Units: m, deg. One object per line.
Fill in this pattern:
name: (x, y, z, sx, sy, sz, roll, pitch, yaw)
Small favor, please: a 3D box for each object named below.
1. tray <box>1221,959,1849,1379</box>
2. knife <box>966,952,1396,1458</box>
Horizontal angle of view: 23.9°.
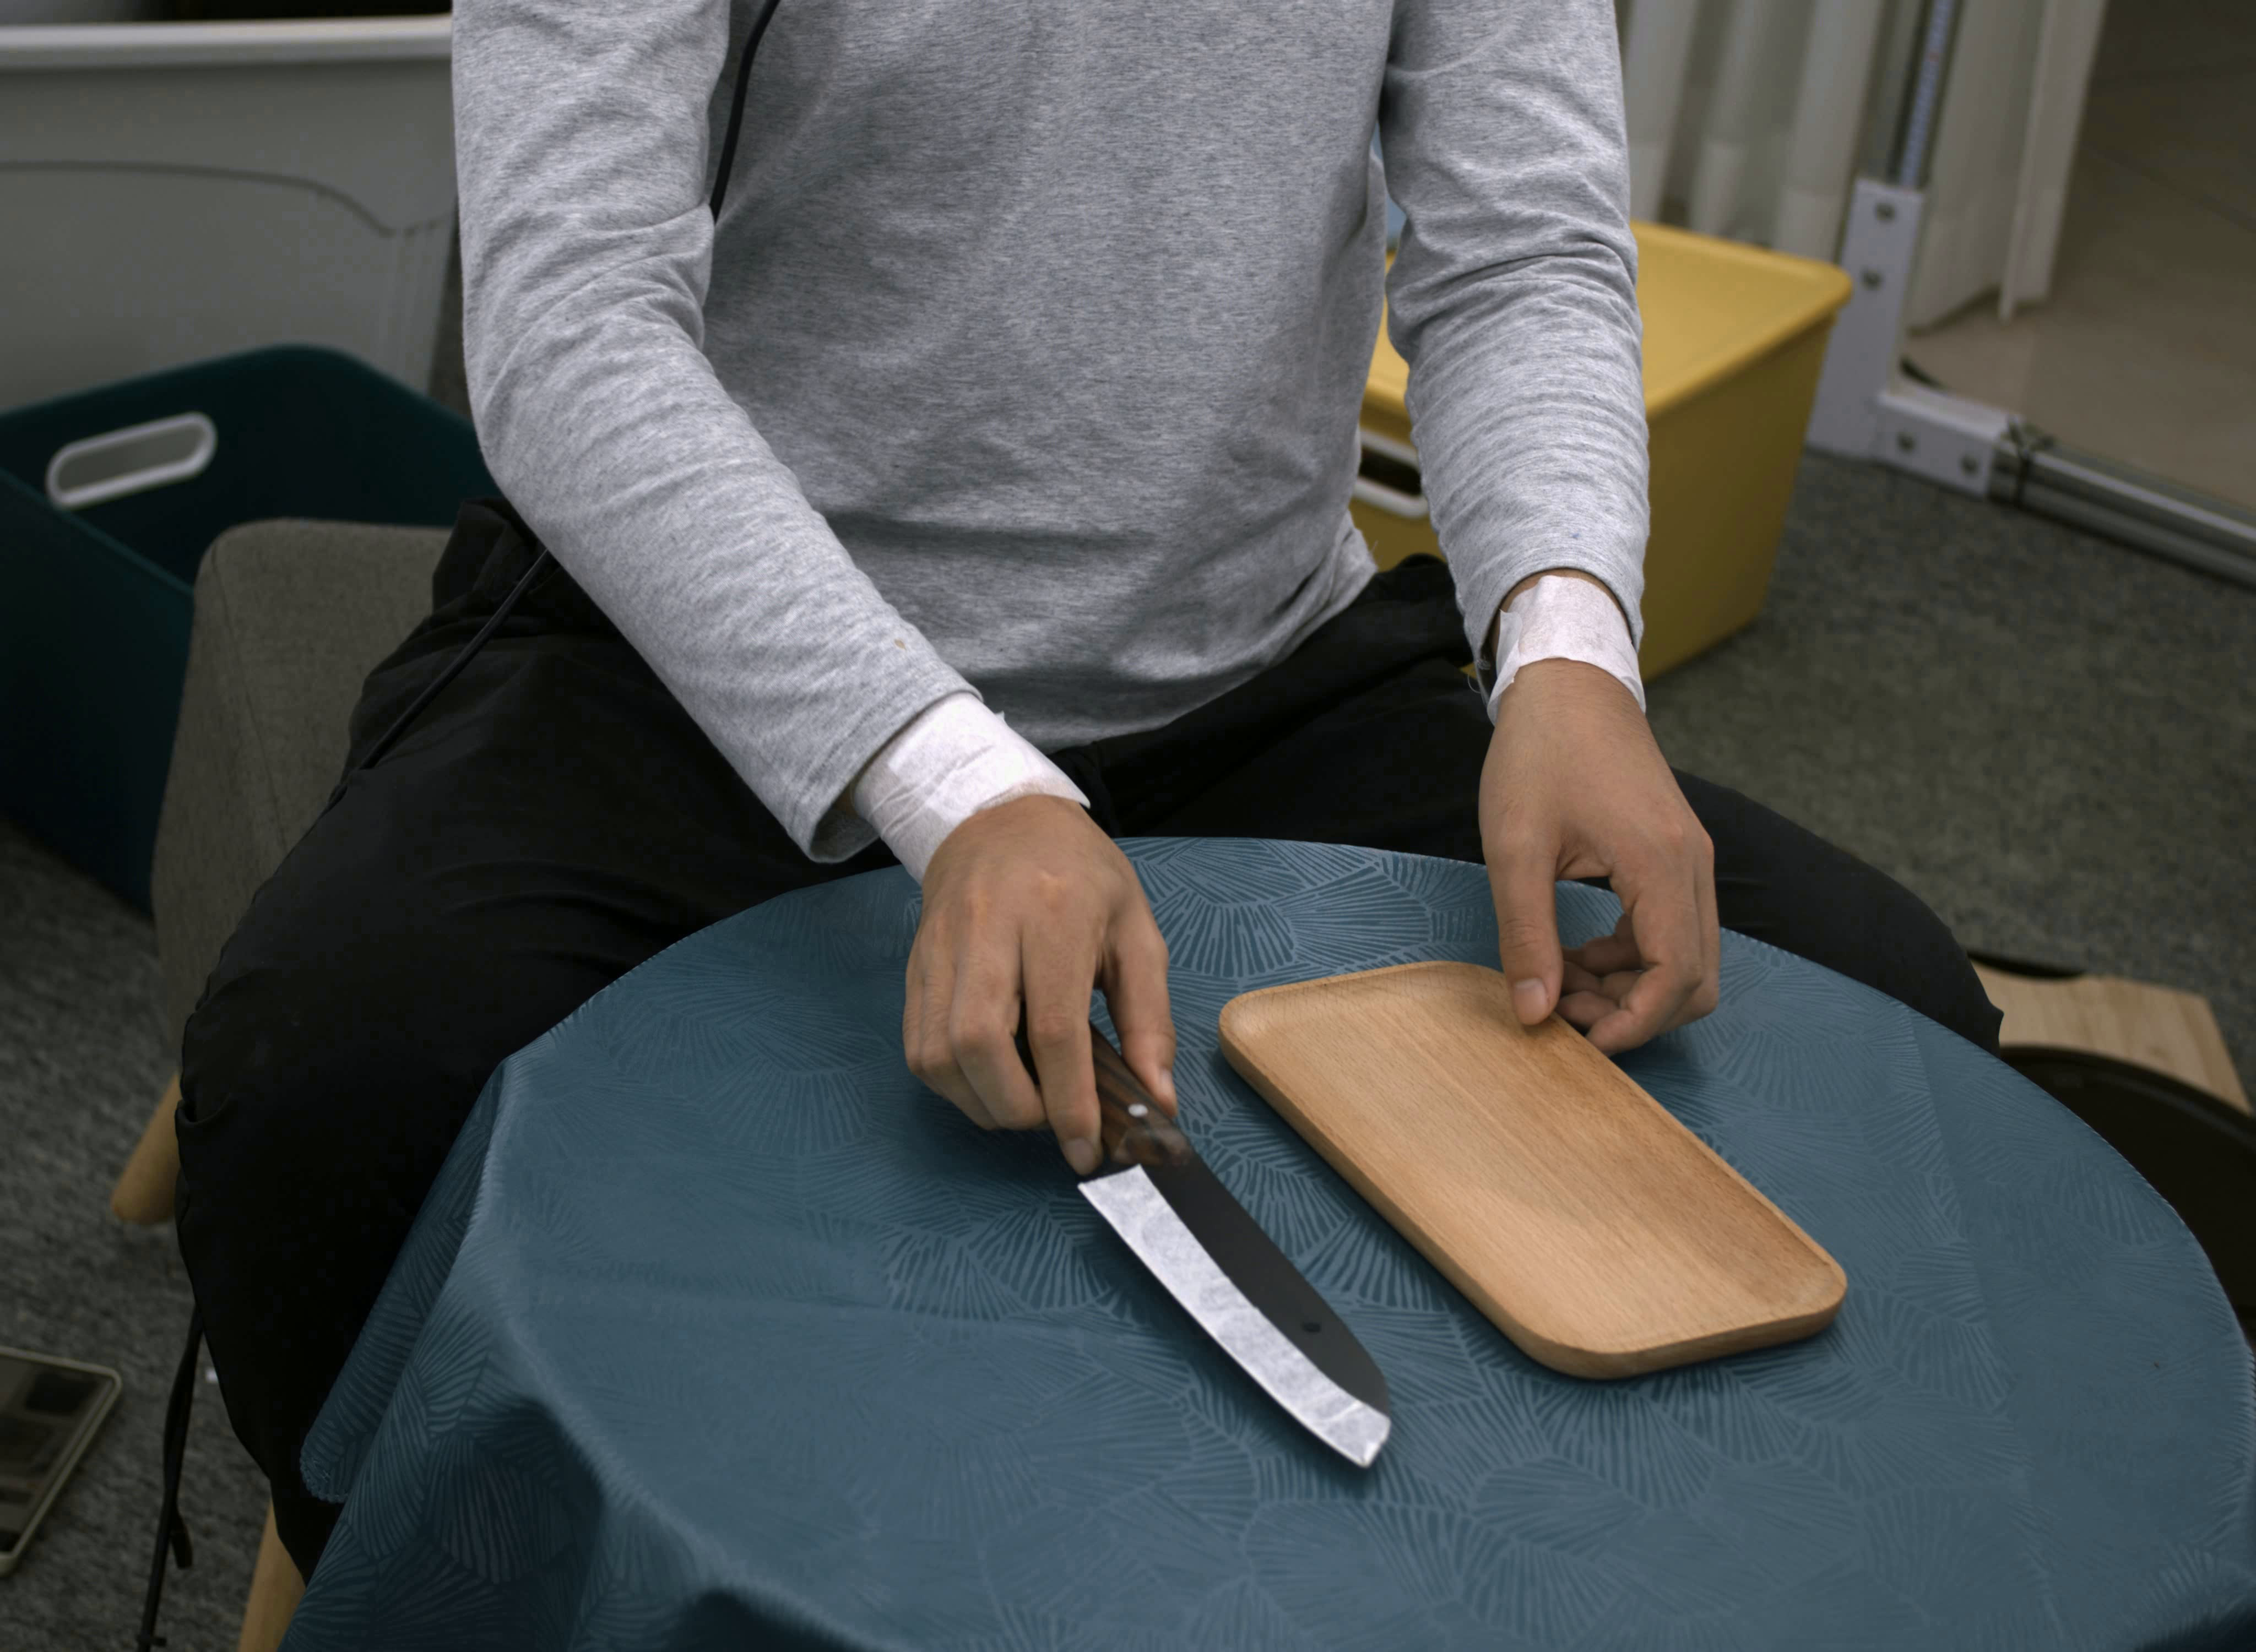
tray: (0.136, 0.115, 1.836, 0.129, 0.023, 0.253, -6, 28, -27)
knife: (0.014, 0.124, 1.762, 0.050, 0.020, 0.292, -16, 37, -20)
